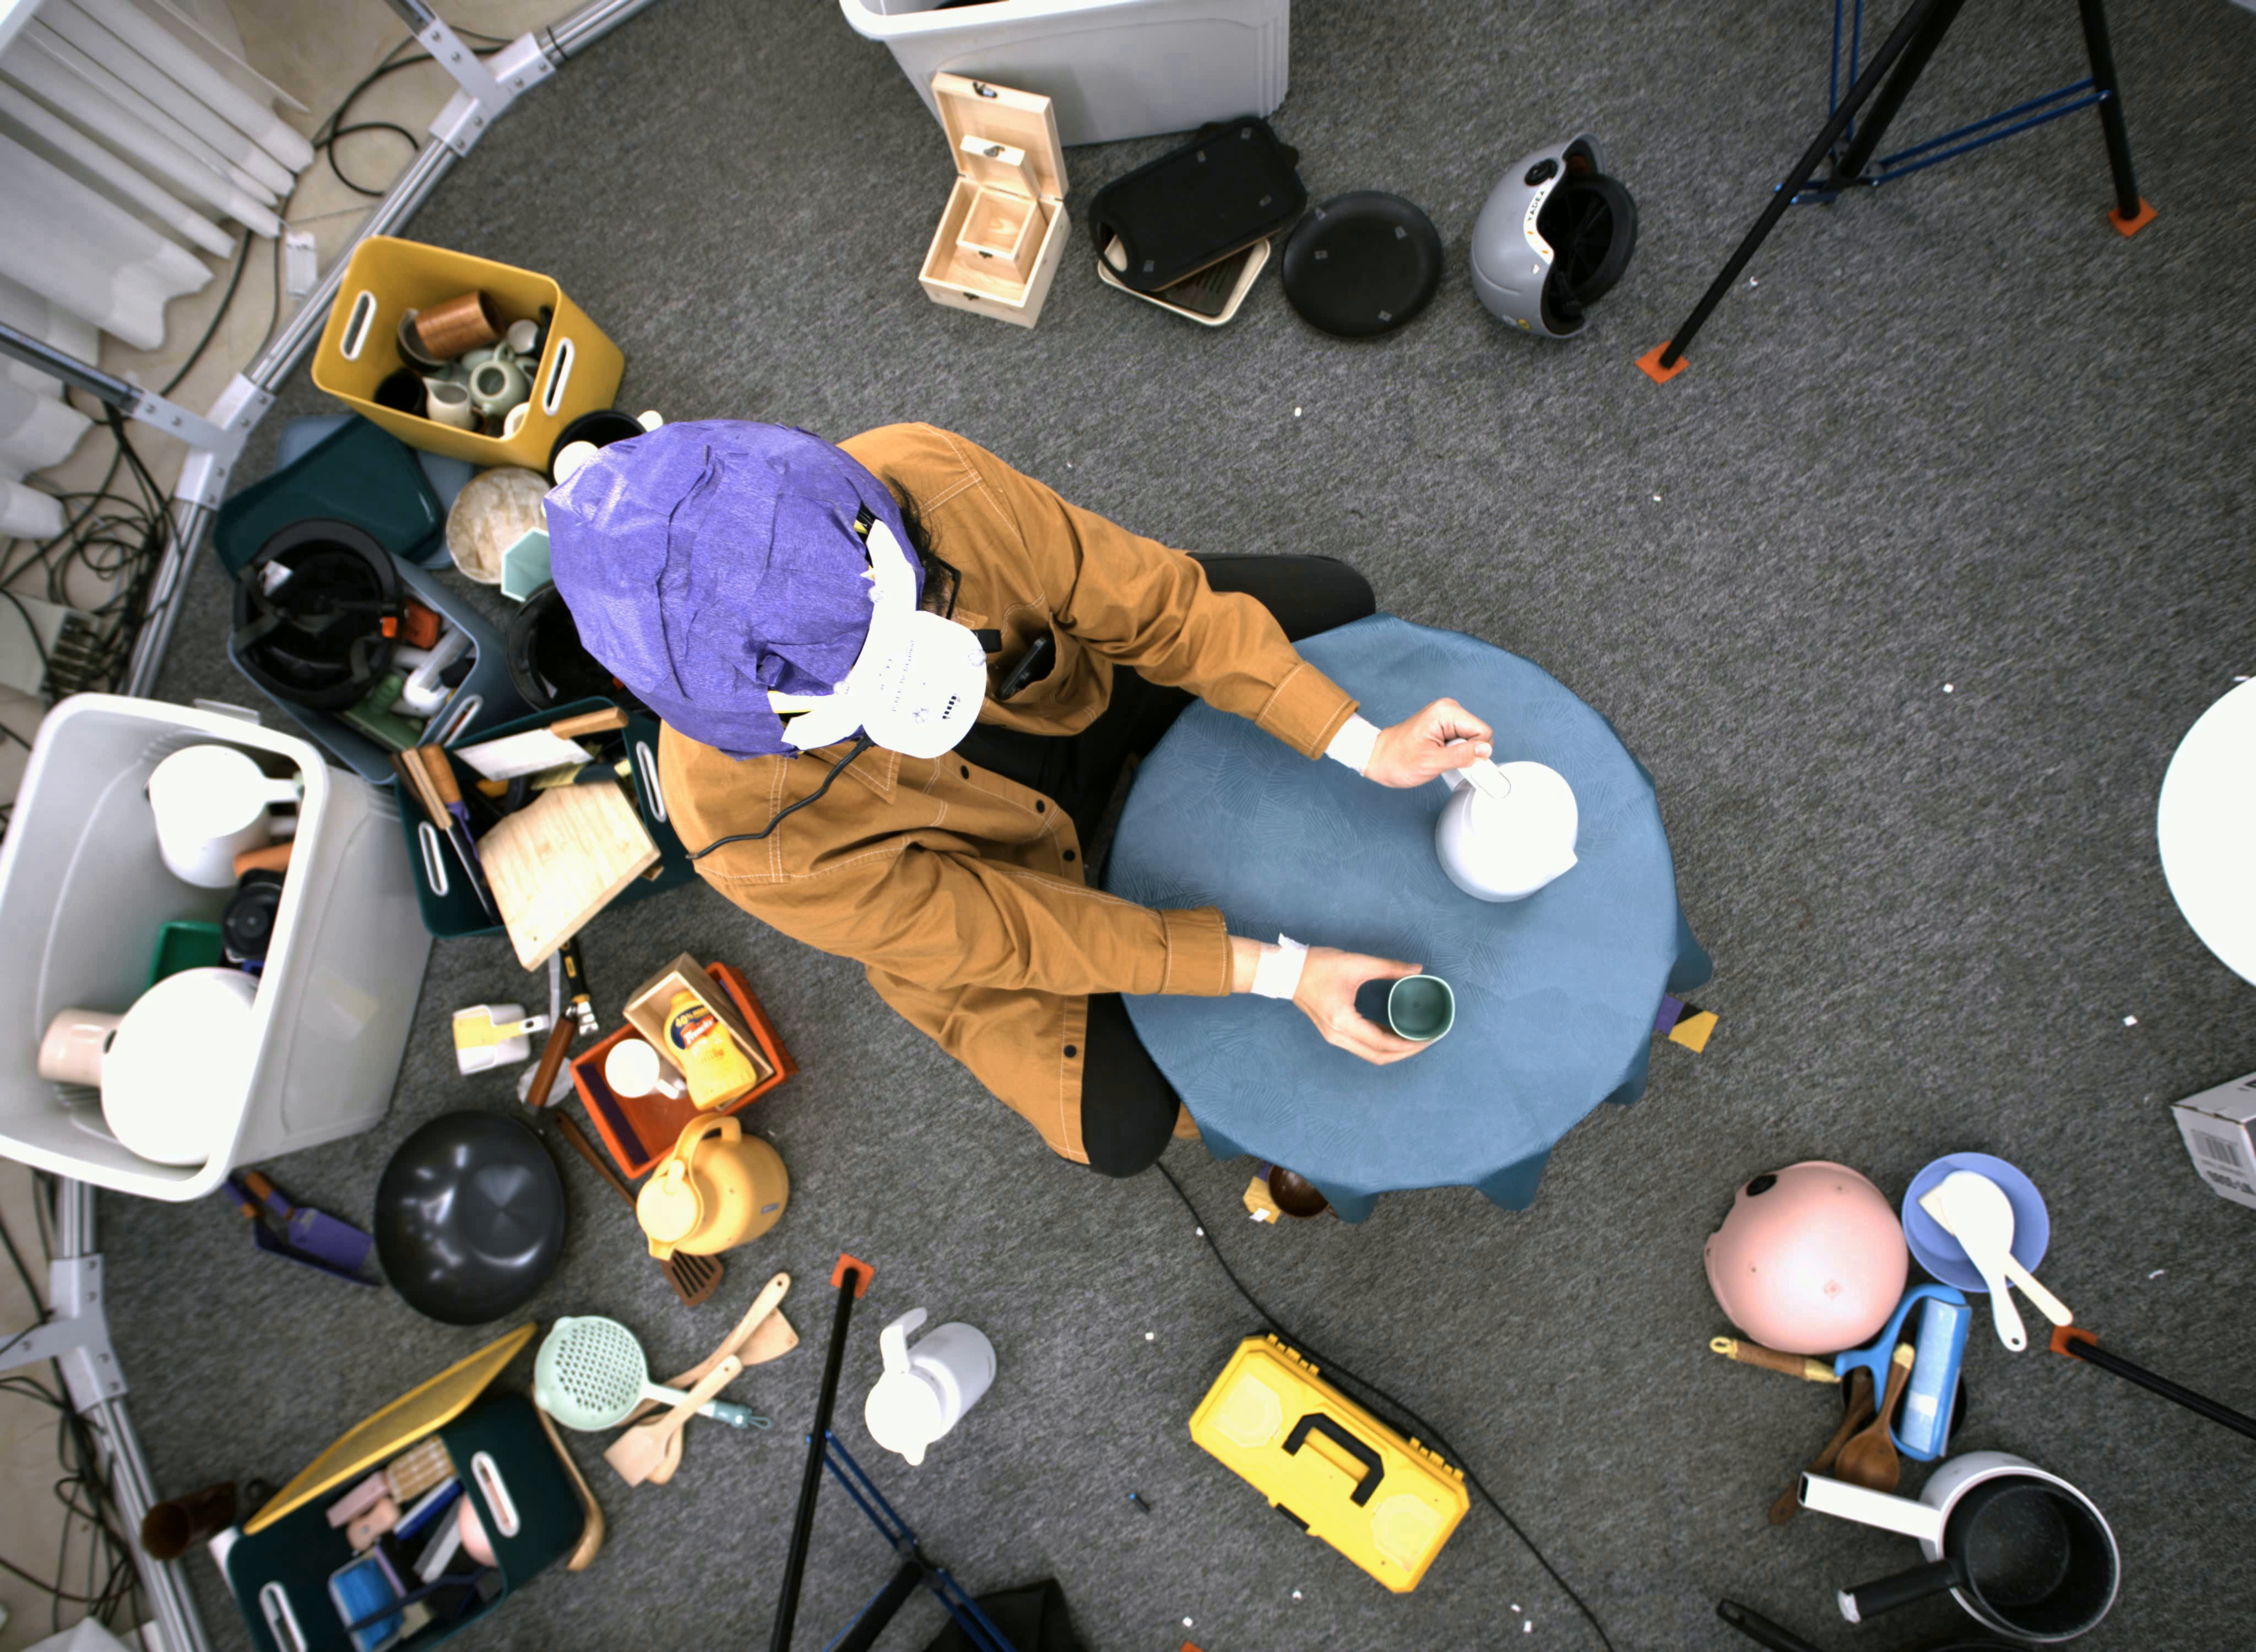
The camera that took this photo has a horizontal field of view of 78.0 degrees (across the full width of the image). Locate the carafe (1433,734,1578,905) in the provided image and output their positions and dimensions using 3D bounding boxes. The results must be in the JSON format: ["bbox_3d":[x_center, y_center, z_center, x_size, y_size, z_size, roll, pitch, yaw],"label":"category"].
[{"bbox_3d":[0.355,-0.014,1.325,0.133,0.249,0.167,-40,79,3],"label":"carafe"}]

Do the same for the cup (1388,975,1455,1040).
[{"bbox_3d":[0.292,0.179,1.389,0.067,0.132,0.066,-1,85,10],"label":"cup"}]
